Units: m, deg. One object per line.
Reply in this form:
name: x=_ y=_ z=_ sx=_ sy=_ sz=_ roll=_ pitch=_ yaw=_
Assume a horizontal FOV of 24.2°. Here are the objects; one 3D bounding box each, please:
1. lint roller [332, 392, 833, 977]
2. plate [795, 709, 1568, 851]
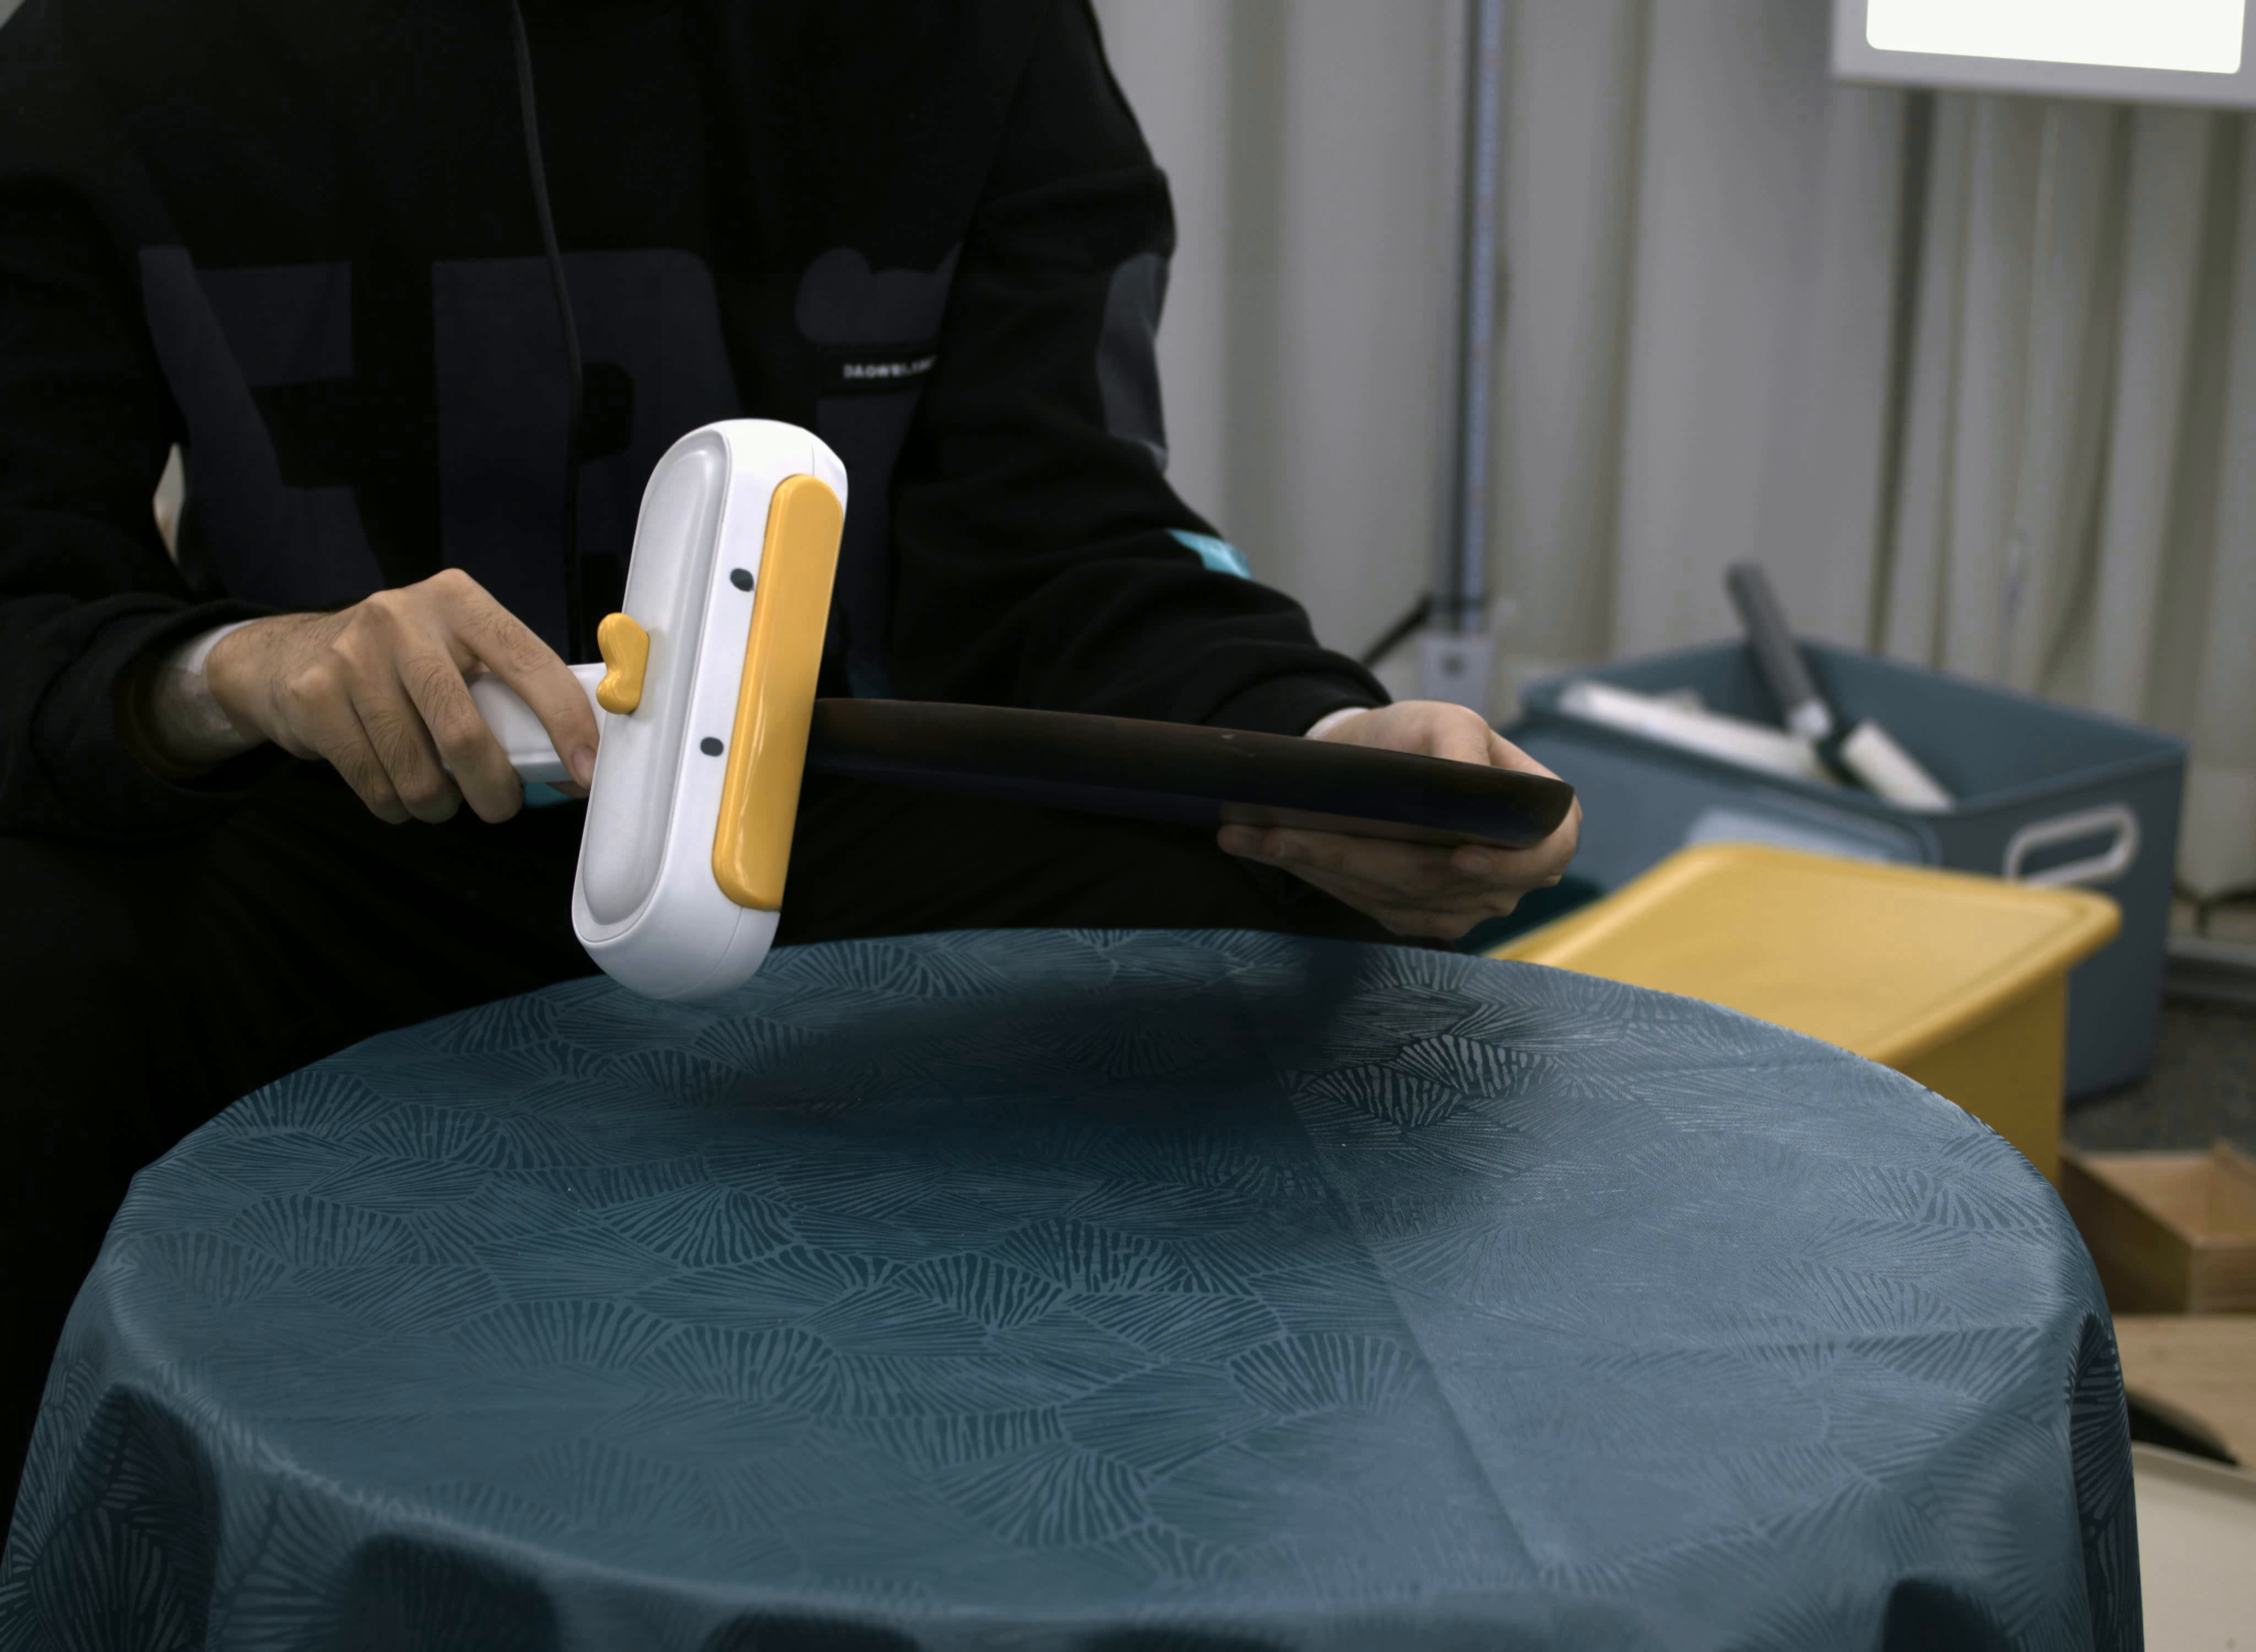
lint roller: x=-0.179 y=-0.036 z=1.709 sx=0.191 sy=0.192 sz=0.075 roll=-15 pitch=-25 yaw=42
plate: x=0.016 y=-0.015 z=1.708 sx=0.254 sy=0.029 sz=0.255 roll=6 pitch=-4 yaw=1
